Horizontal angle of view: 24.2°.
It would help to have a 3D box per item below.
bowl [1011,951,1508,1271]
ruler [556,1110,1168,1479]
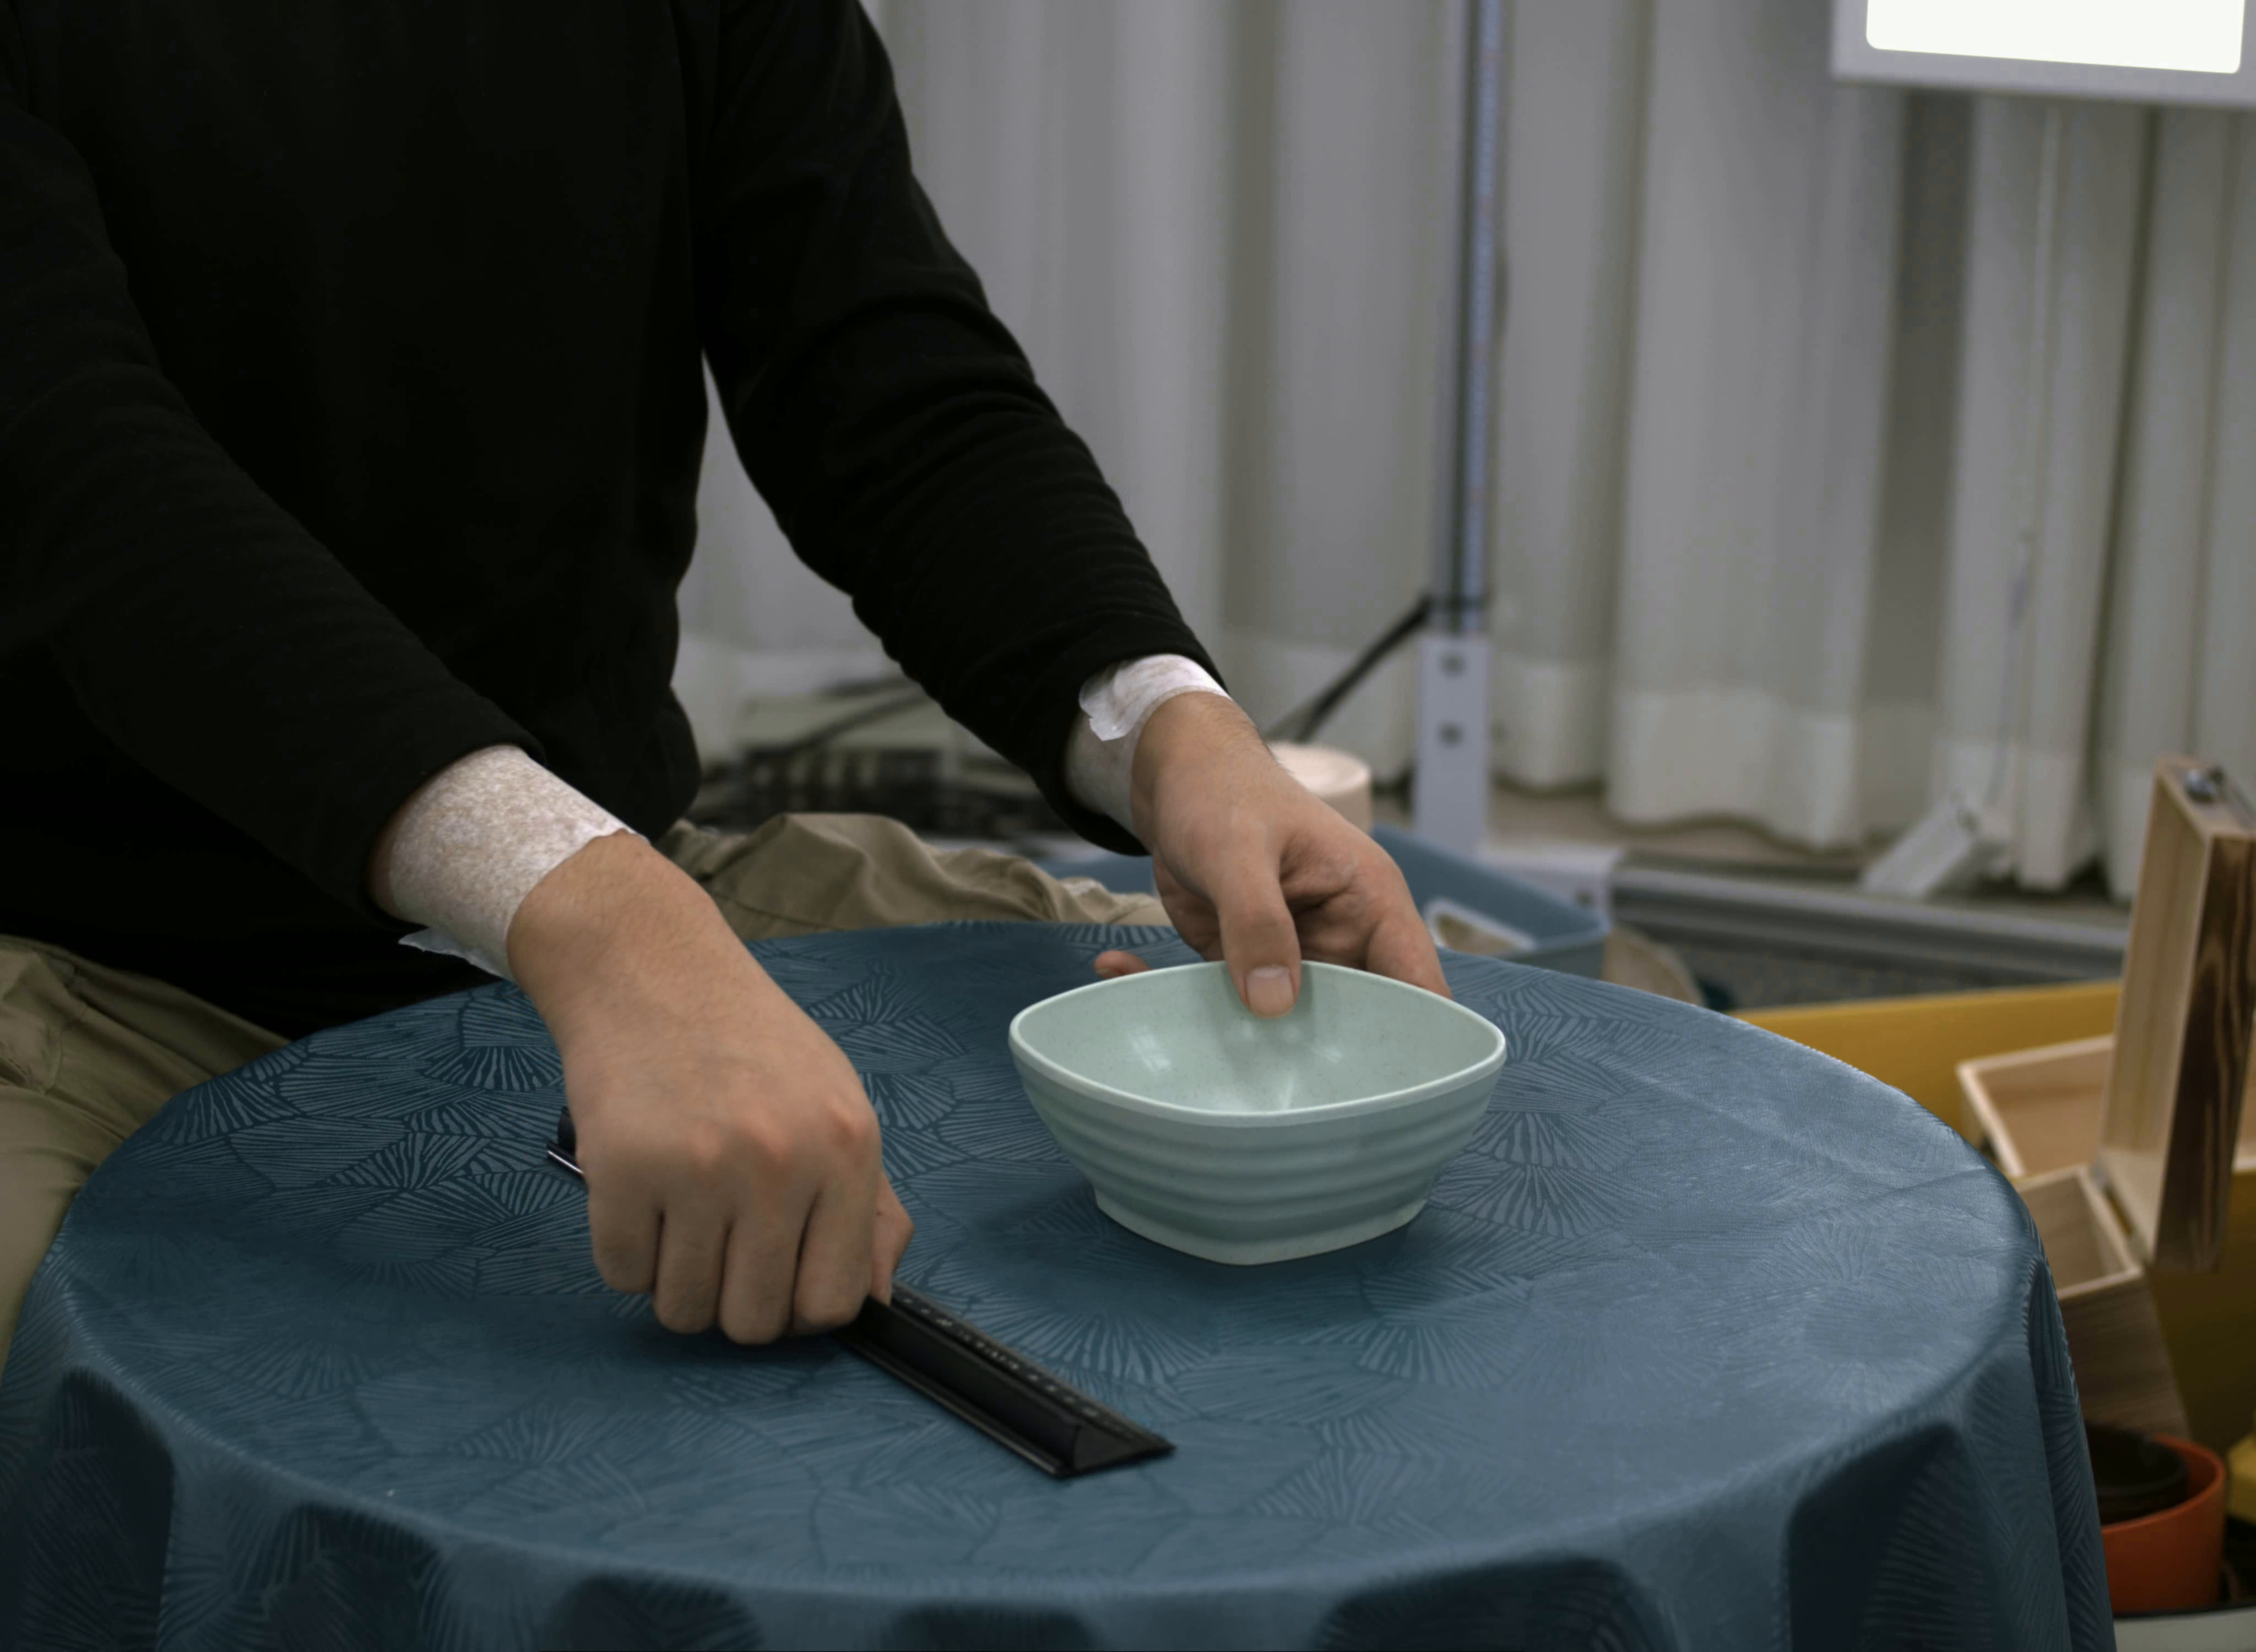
[{"bbox_3d":[0.039,0.090,1.597,0.151,0.059,0.150,1,18,0],"label":"bowl"},{"bbox_3d":[-0.083,0.129,1.528,0.039,0.017,0.308,-6,17,-31],"label":"ruler"}]
